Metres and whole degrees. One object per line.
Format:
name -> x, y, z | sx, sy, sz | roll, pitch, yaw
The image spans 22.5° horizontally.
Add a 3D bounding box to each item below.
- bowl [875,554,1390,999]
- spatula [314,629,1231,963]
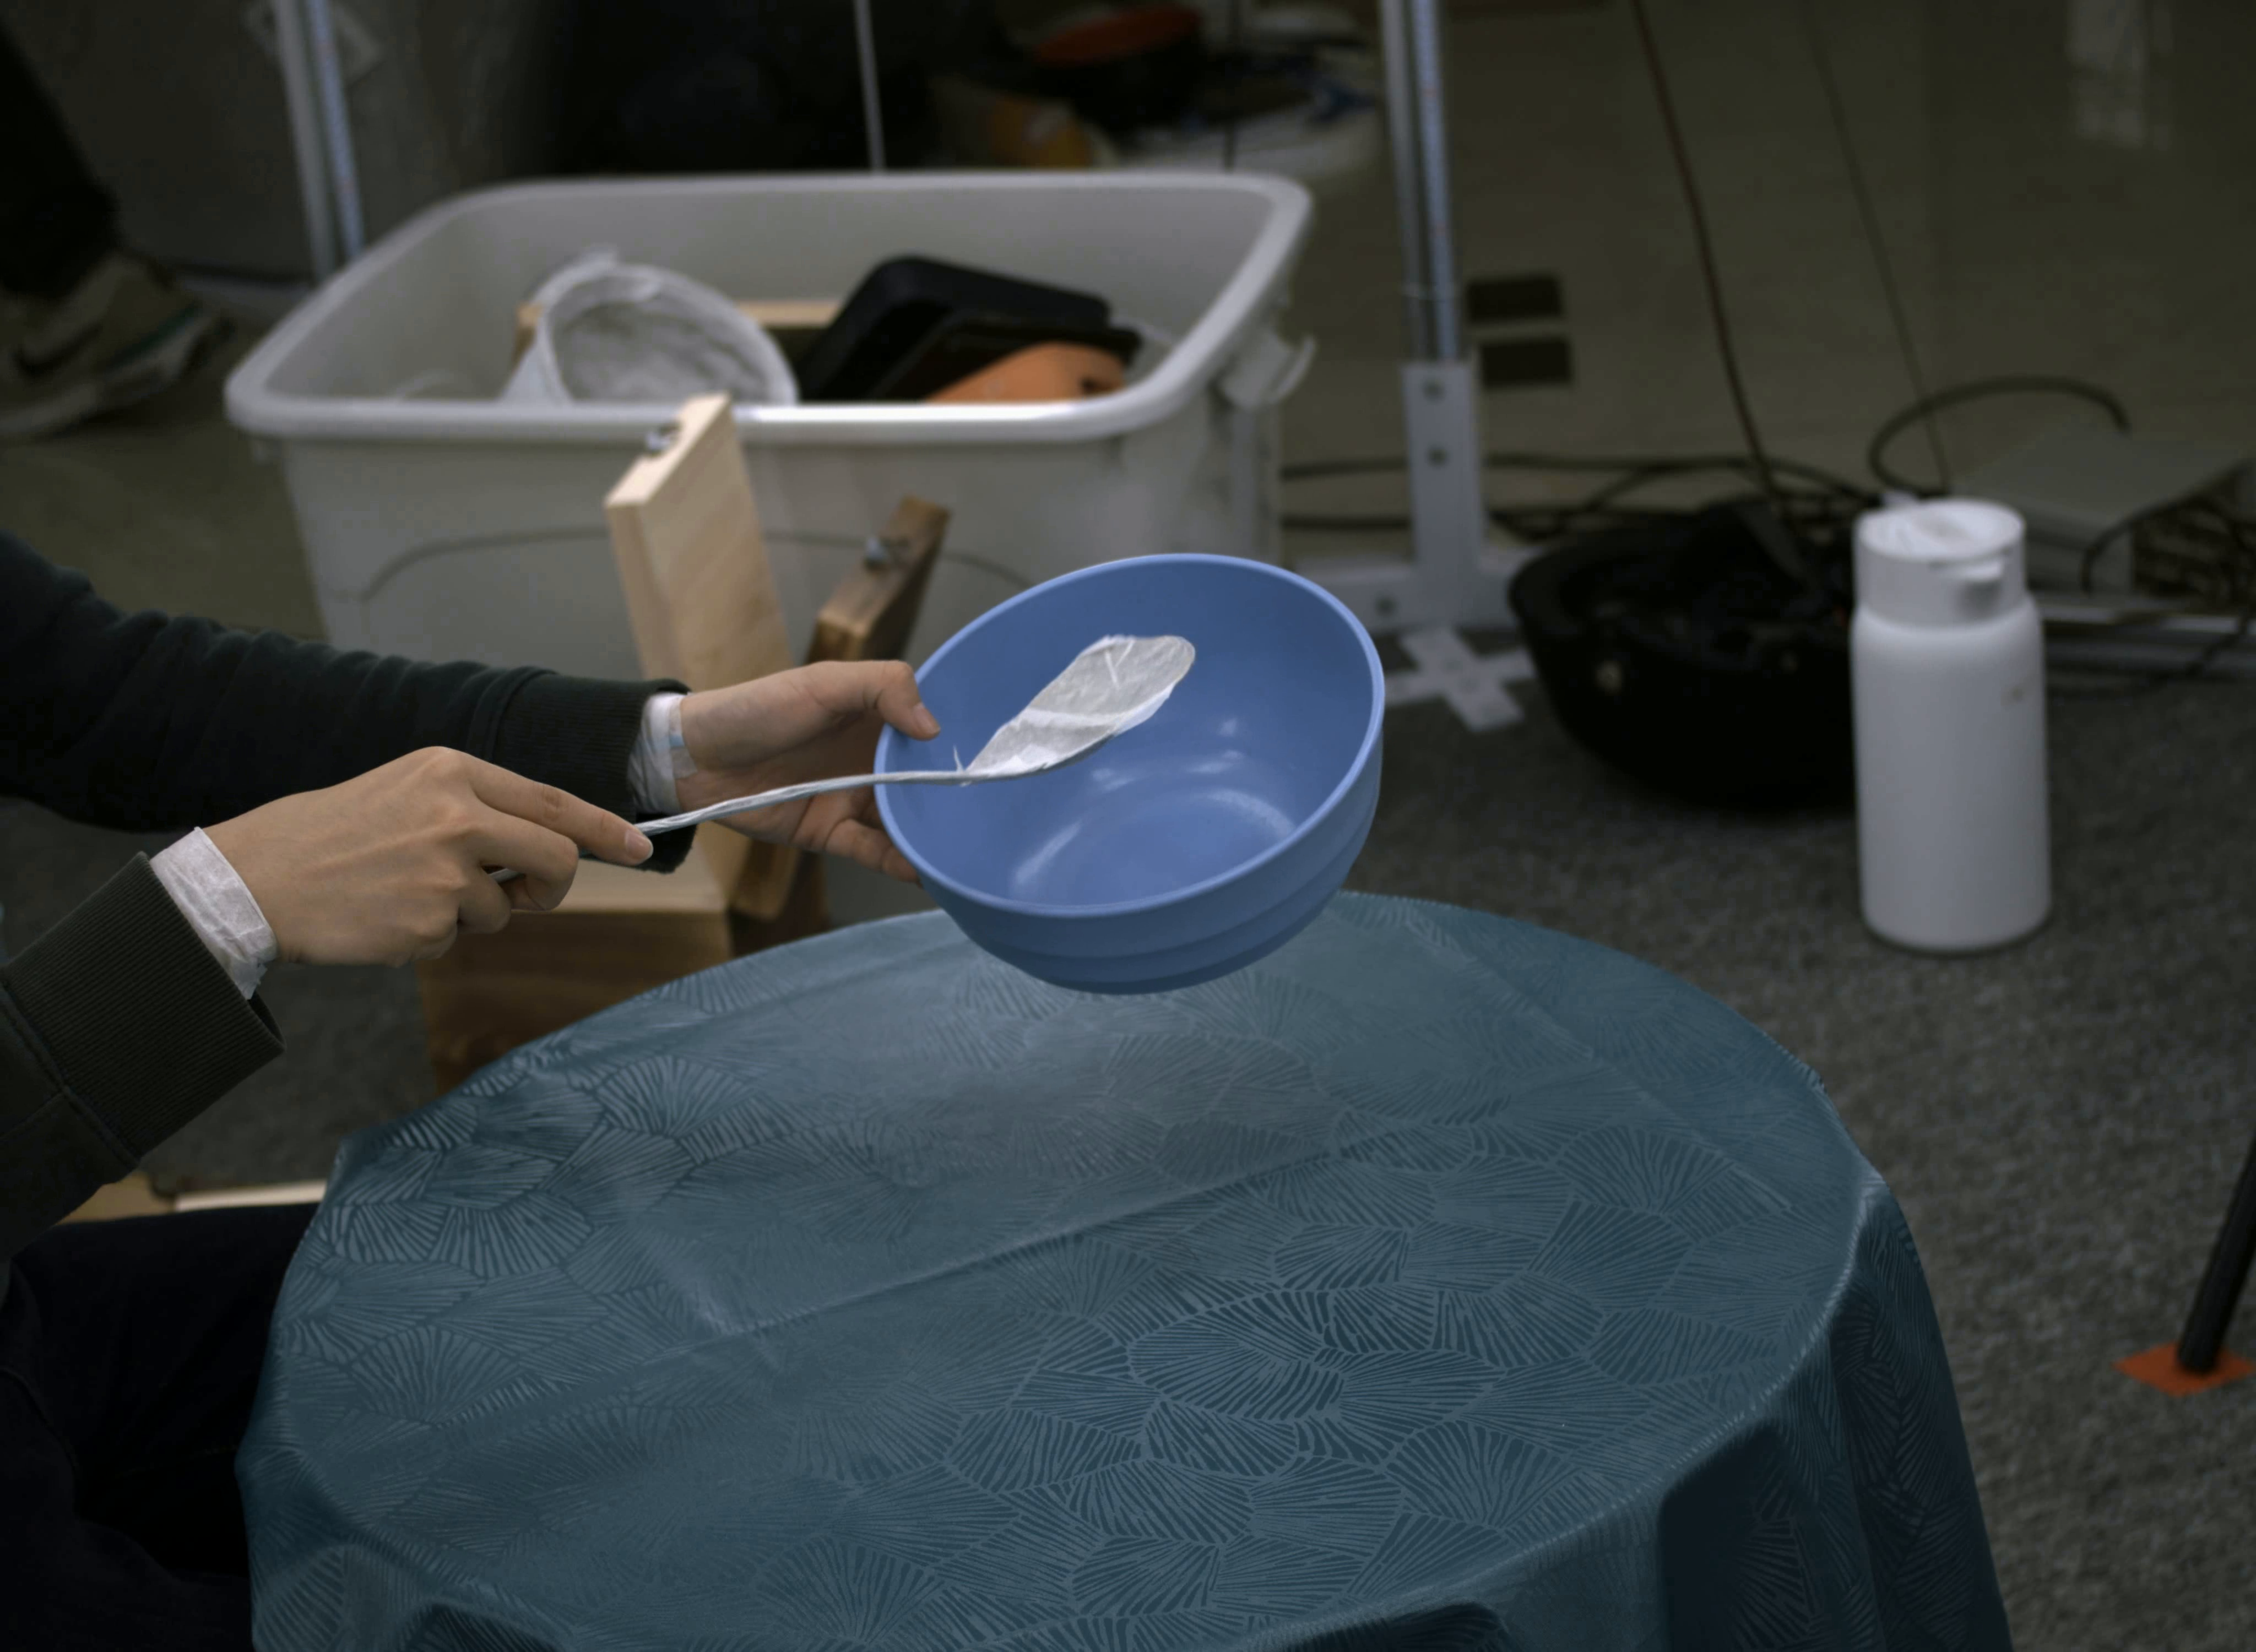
bowl -> 0.010, -0.003, 2.145 | 0.196, 0.097, 0.193 | -8, 44, 8
spatula -> -0.124, -0.013, 1.994 | 0.363, 0.045, 0.098 | -14, 7, -32
